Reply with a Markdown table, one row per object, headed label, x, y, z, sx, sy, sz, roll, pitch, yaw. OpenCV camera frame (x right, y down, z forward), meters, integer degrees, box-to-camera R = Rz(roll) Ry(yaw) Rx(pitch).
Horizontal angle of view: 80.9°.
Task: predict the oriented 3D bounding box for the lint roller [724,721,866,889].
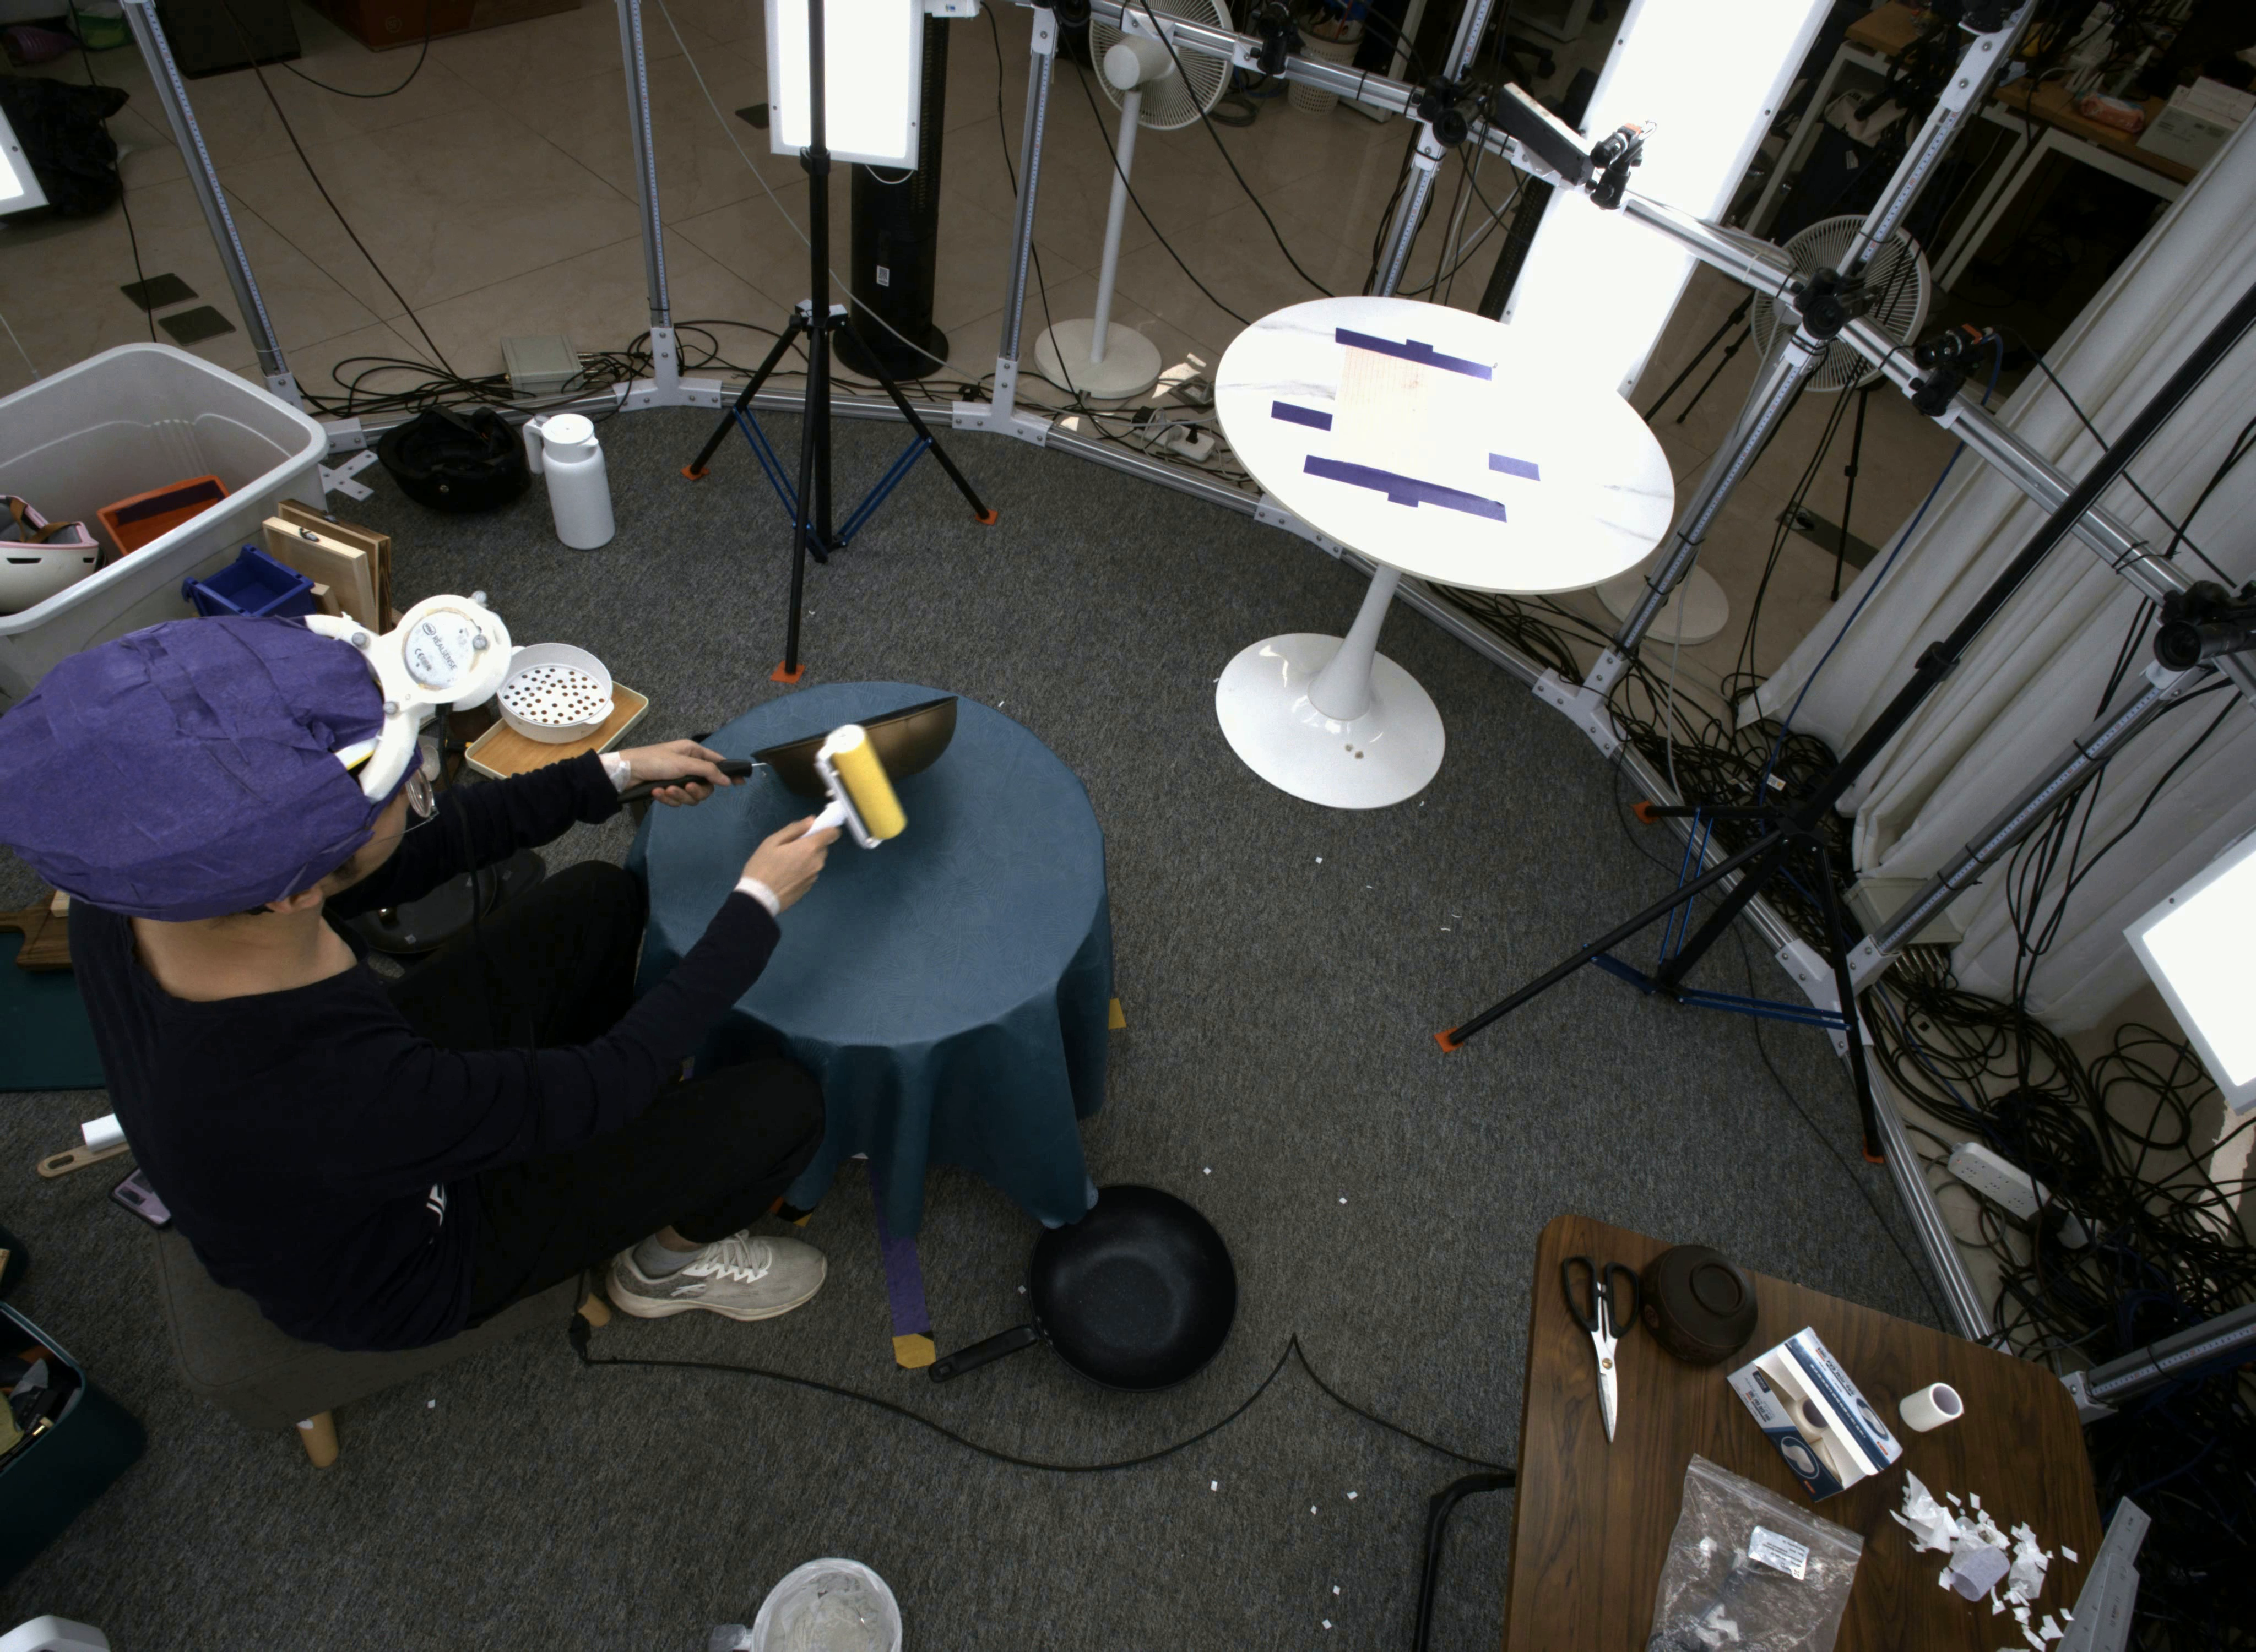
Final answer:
| label | x | y | z | sx | sy | sz | roll | pitch | yaw |
| --- | --- | --- | --- | --- | --- | --- | --- | --- | --- |
| lint roller | -0.402 | 0.000 | 1.531 | 0.050 | 0.181 | 0.191 | 17 | 59 | 26 |

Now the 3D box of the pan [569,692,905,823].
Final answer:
| label | x | y | z | sx | sy | sz | roll | pitch | yaw |
| --- | --- | --- | --- | --- | --- | --- | --- | --- | --- |
| pan | -0.476 | -0.060 | 1.624 | 0.466 | 0.280 | 0.089 | -25 | 102 | -37 |
